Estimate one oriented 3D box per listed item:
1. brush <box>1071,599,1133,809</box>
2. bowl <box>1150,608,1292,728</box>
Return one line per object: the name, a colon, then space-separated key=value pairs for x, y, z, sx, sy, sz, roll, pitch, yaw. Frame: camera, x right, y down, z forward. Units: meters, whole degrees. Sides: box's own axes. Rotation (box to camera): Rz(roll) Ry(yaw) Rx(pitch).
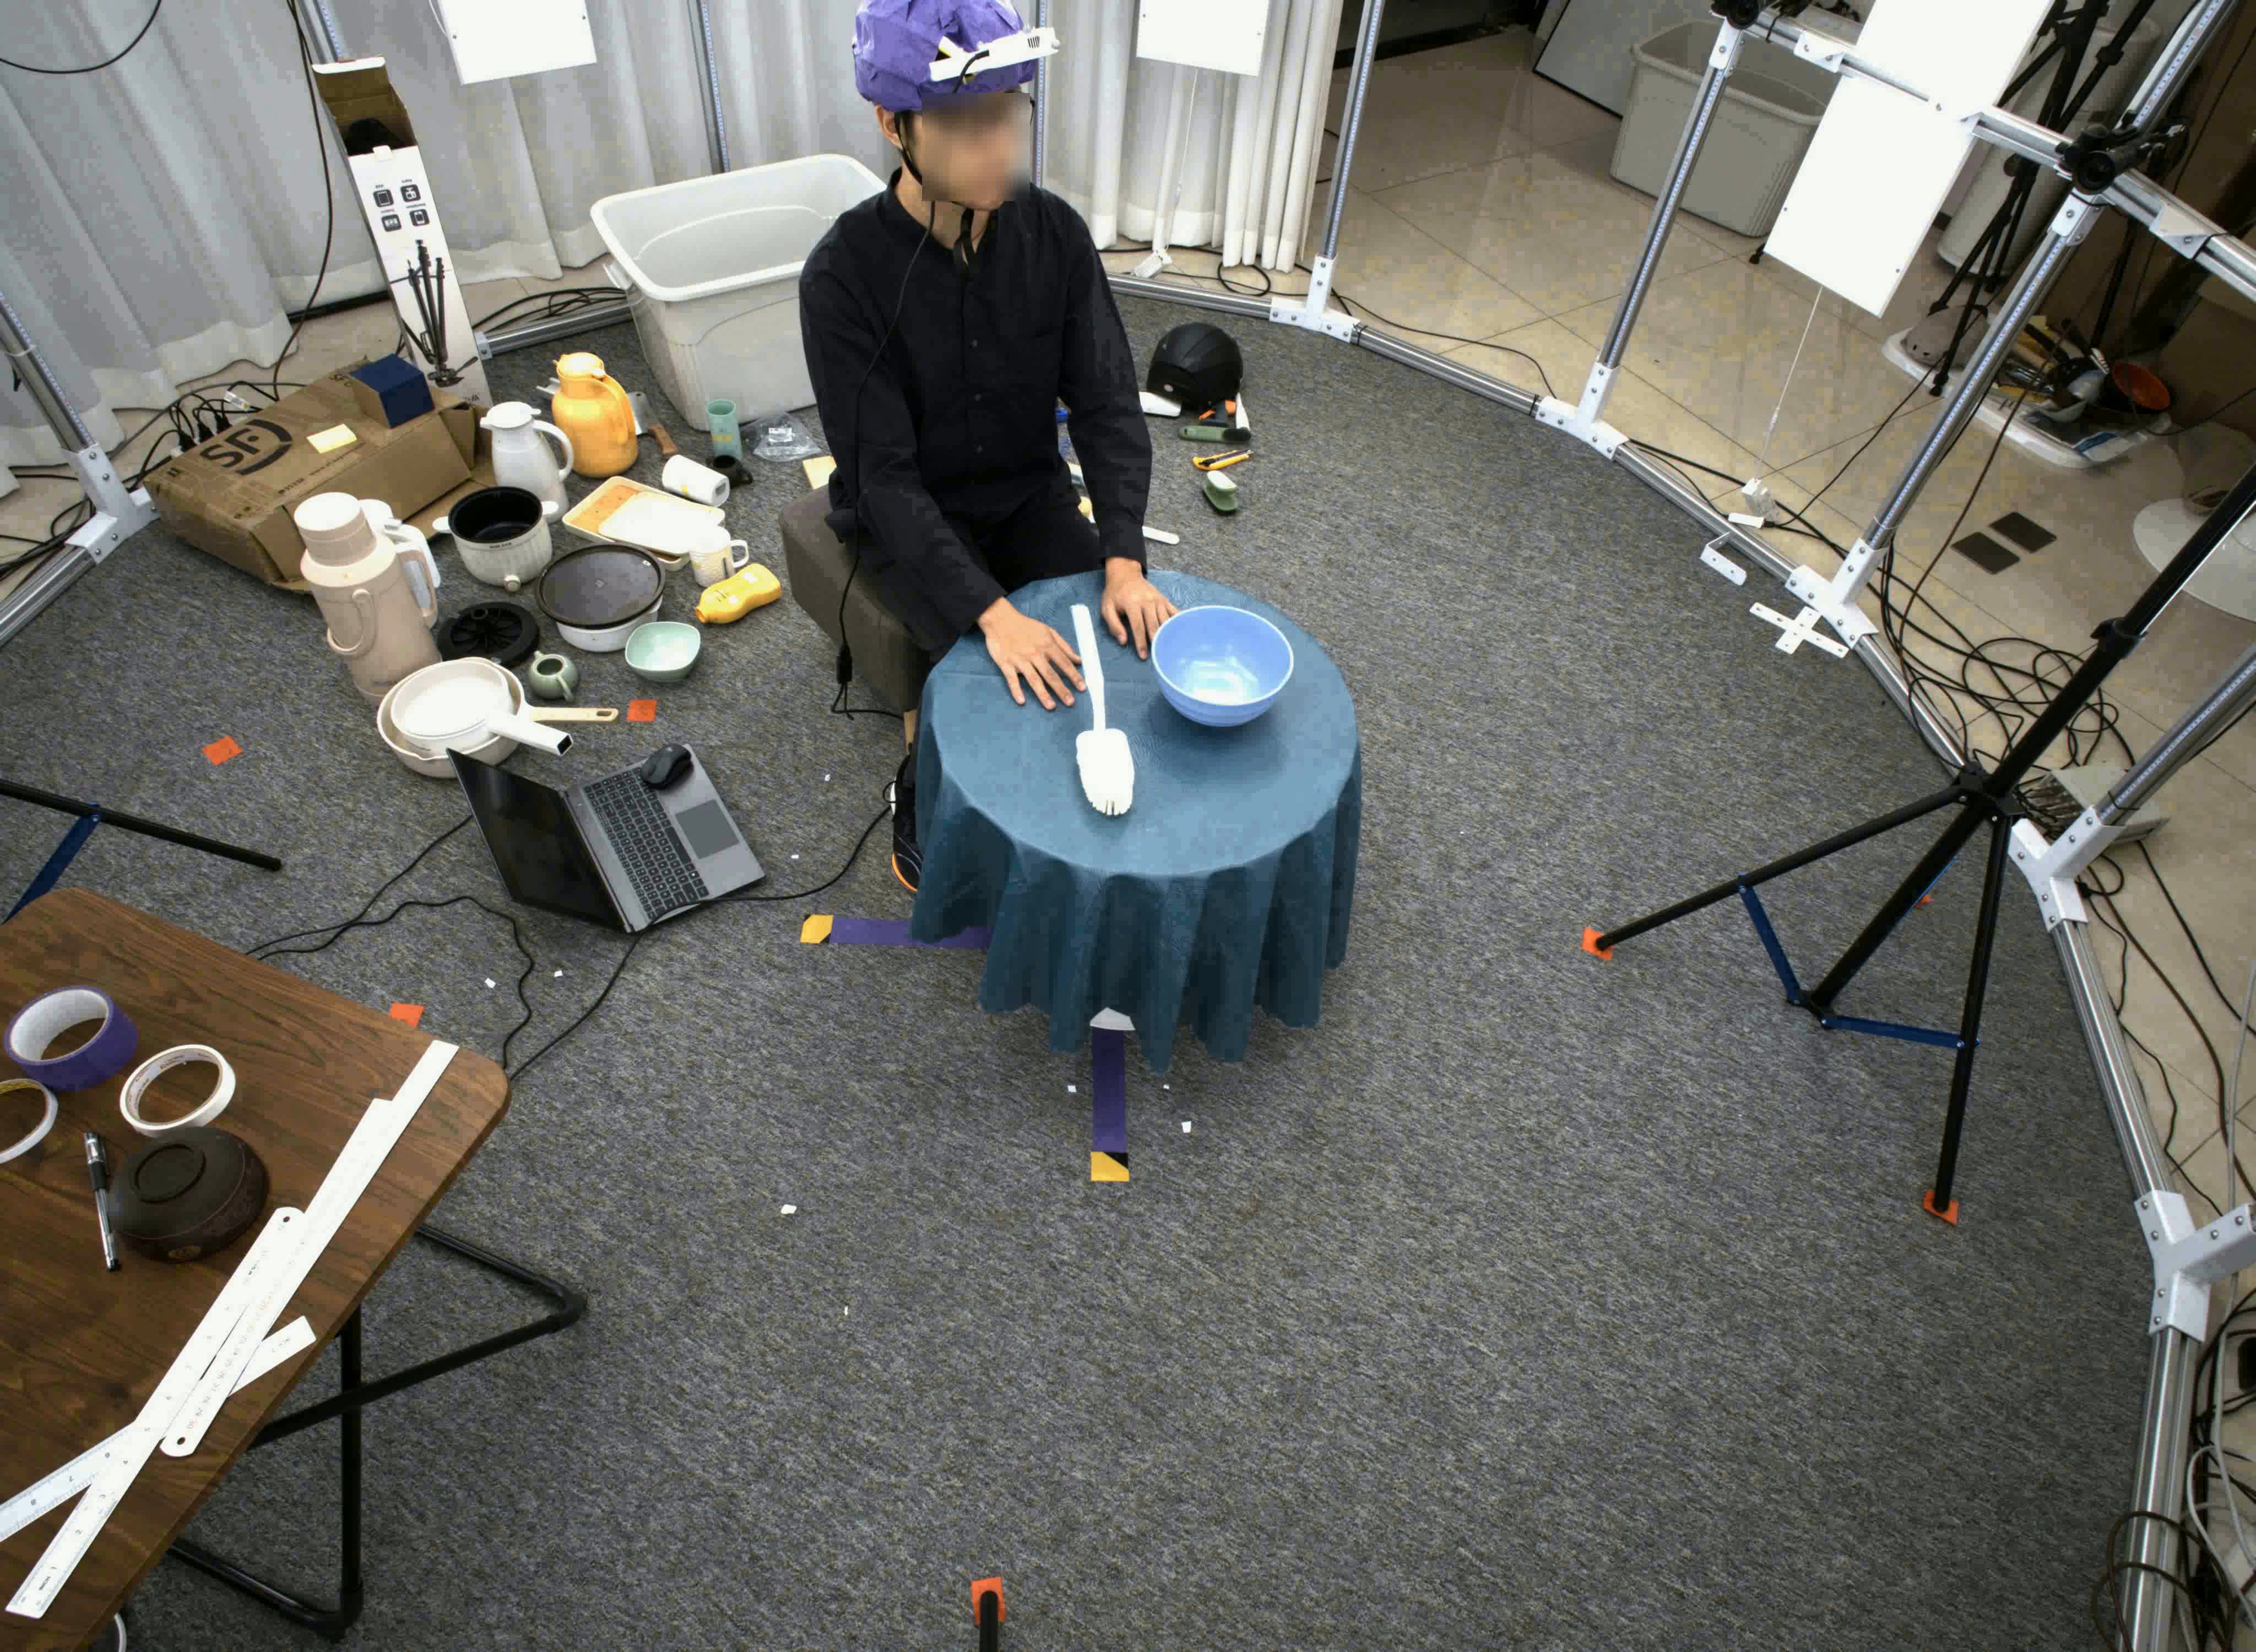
brush: x=-0.041 y=-0.164 z=1.754 sx=0.082 sy=0.084 sz=0.332 roll=17 pitch=51 yaw=-41
bowl: x=0.126 y=-0.207 z=1.800 sx=0.196 sy=0.093 sz=0.201 roll=2 pitch=49 yaw=-2
